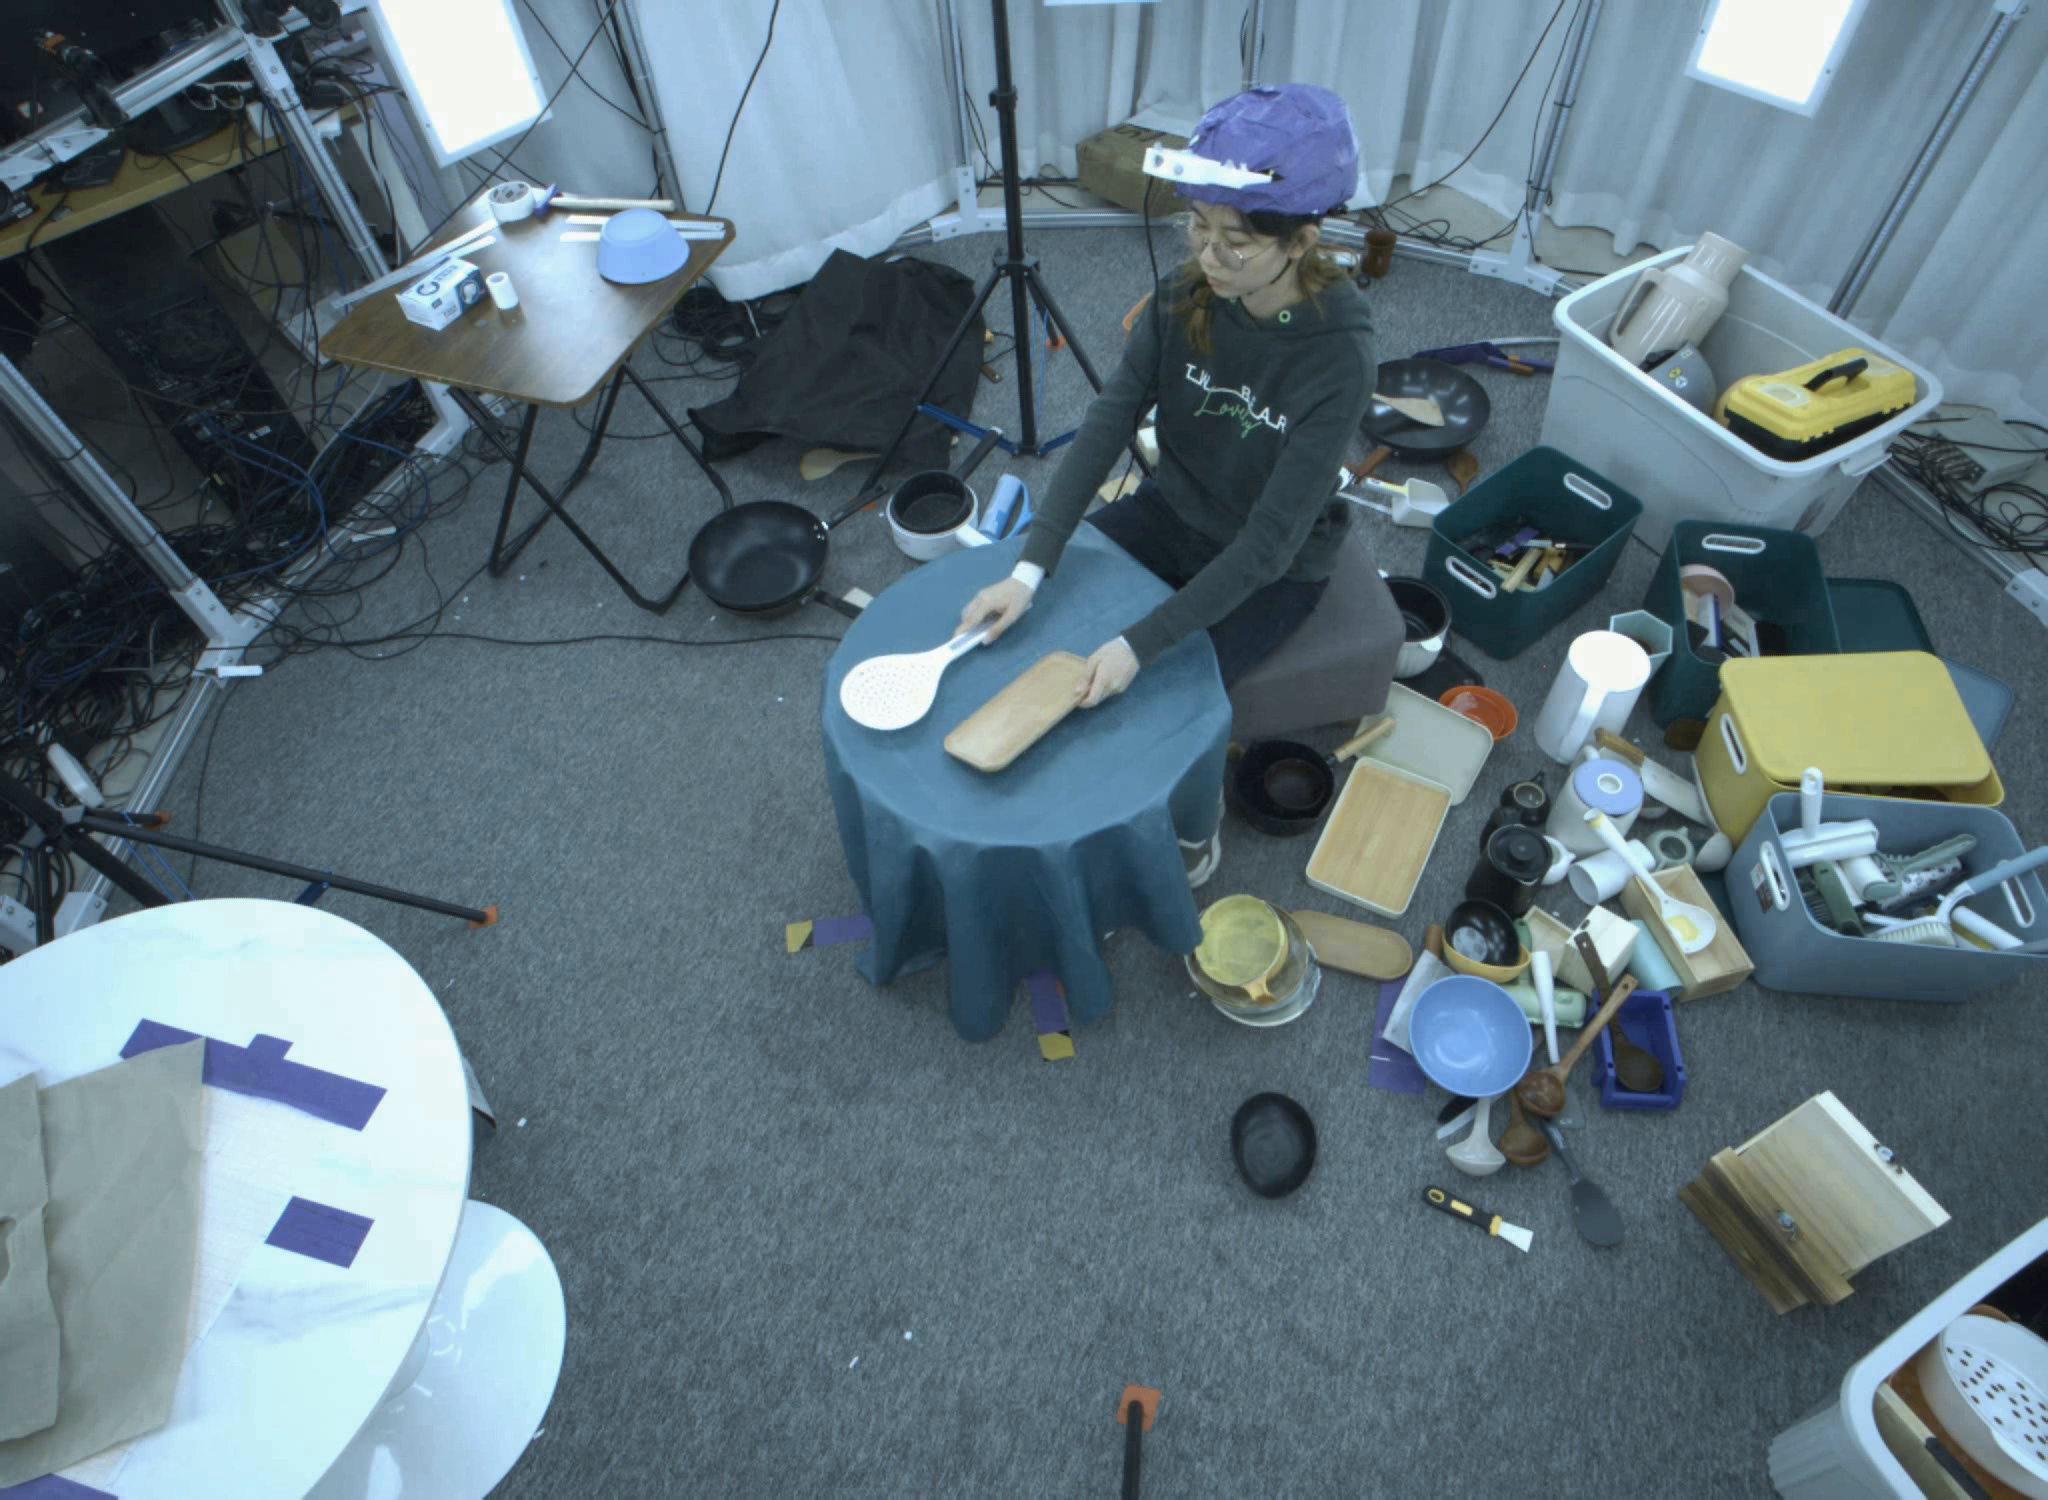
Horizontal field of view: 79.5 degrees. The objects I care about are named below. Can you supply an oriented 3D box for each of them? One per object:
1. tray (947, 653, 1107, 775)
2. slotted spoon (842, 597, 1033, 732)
[{"bbox_3d":[0.006,-0.055,1.803,0.252,0.023,0.127,-40,45,-24],"label":"tray"},{"bbox_3d":[-0.122,-0.138,1.865,0.352,0.046,0.134,-39,67,-21],"label":"slotted spoon"}]
